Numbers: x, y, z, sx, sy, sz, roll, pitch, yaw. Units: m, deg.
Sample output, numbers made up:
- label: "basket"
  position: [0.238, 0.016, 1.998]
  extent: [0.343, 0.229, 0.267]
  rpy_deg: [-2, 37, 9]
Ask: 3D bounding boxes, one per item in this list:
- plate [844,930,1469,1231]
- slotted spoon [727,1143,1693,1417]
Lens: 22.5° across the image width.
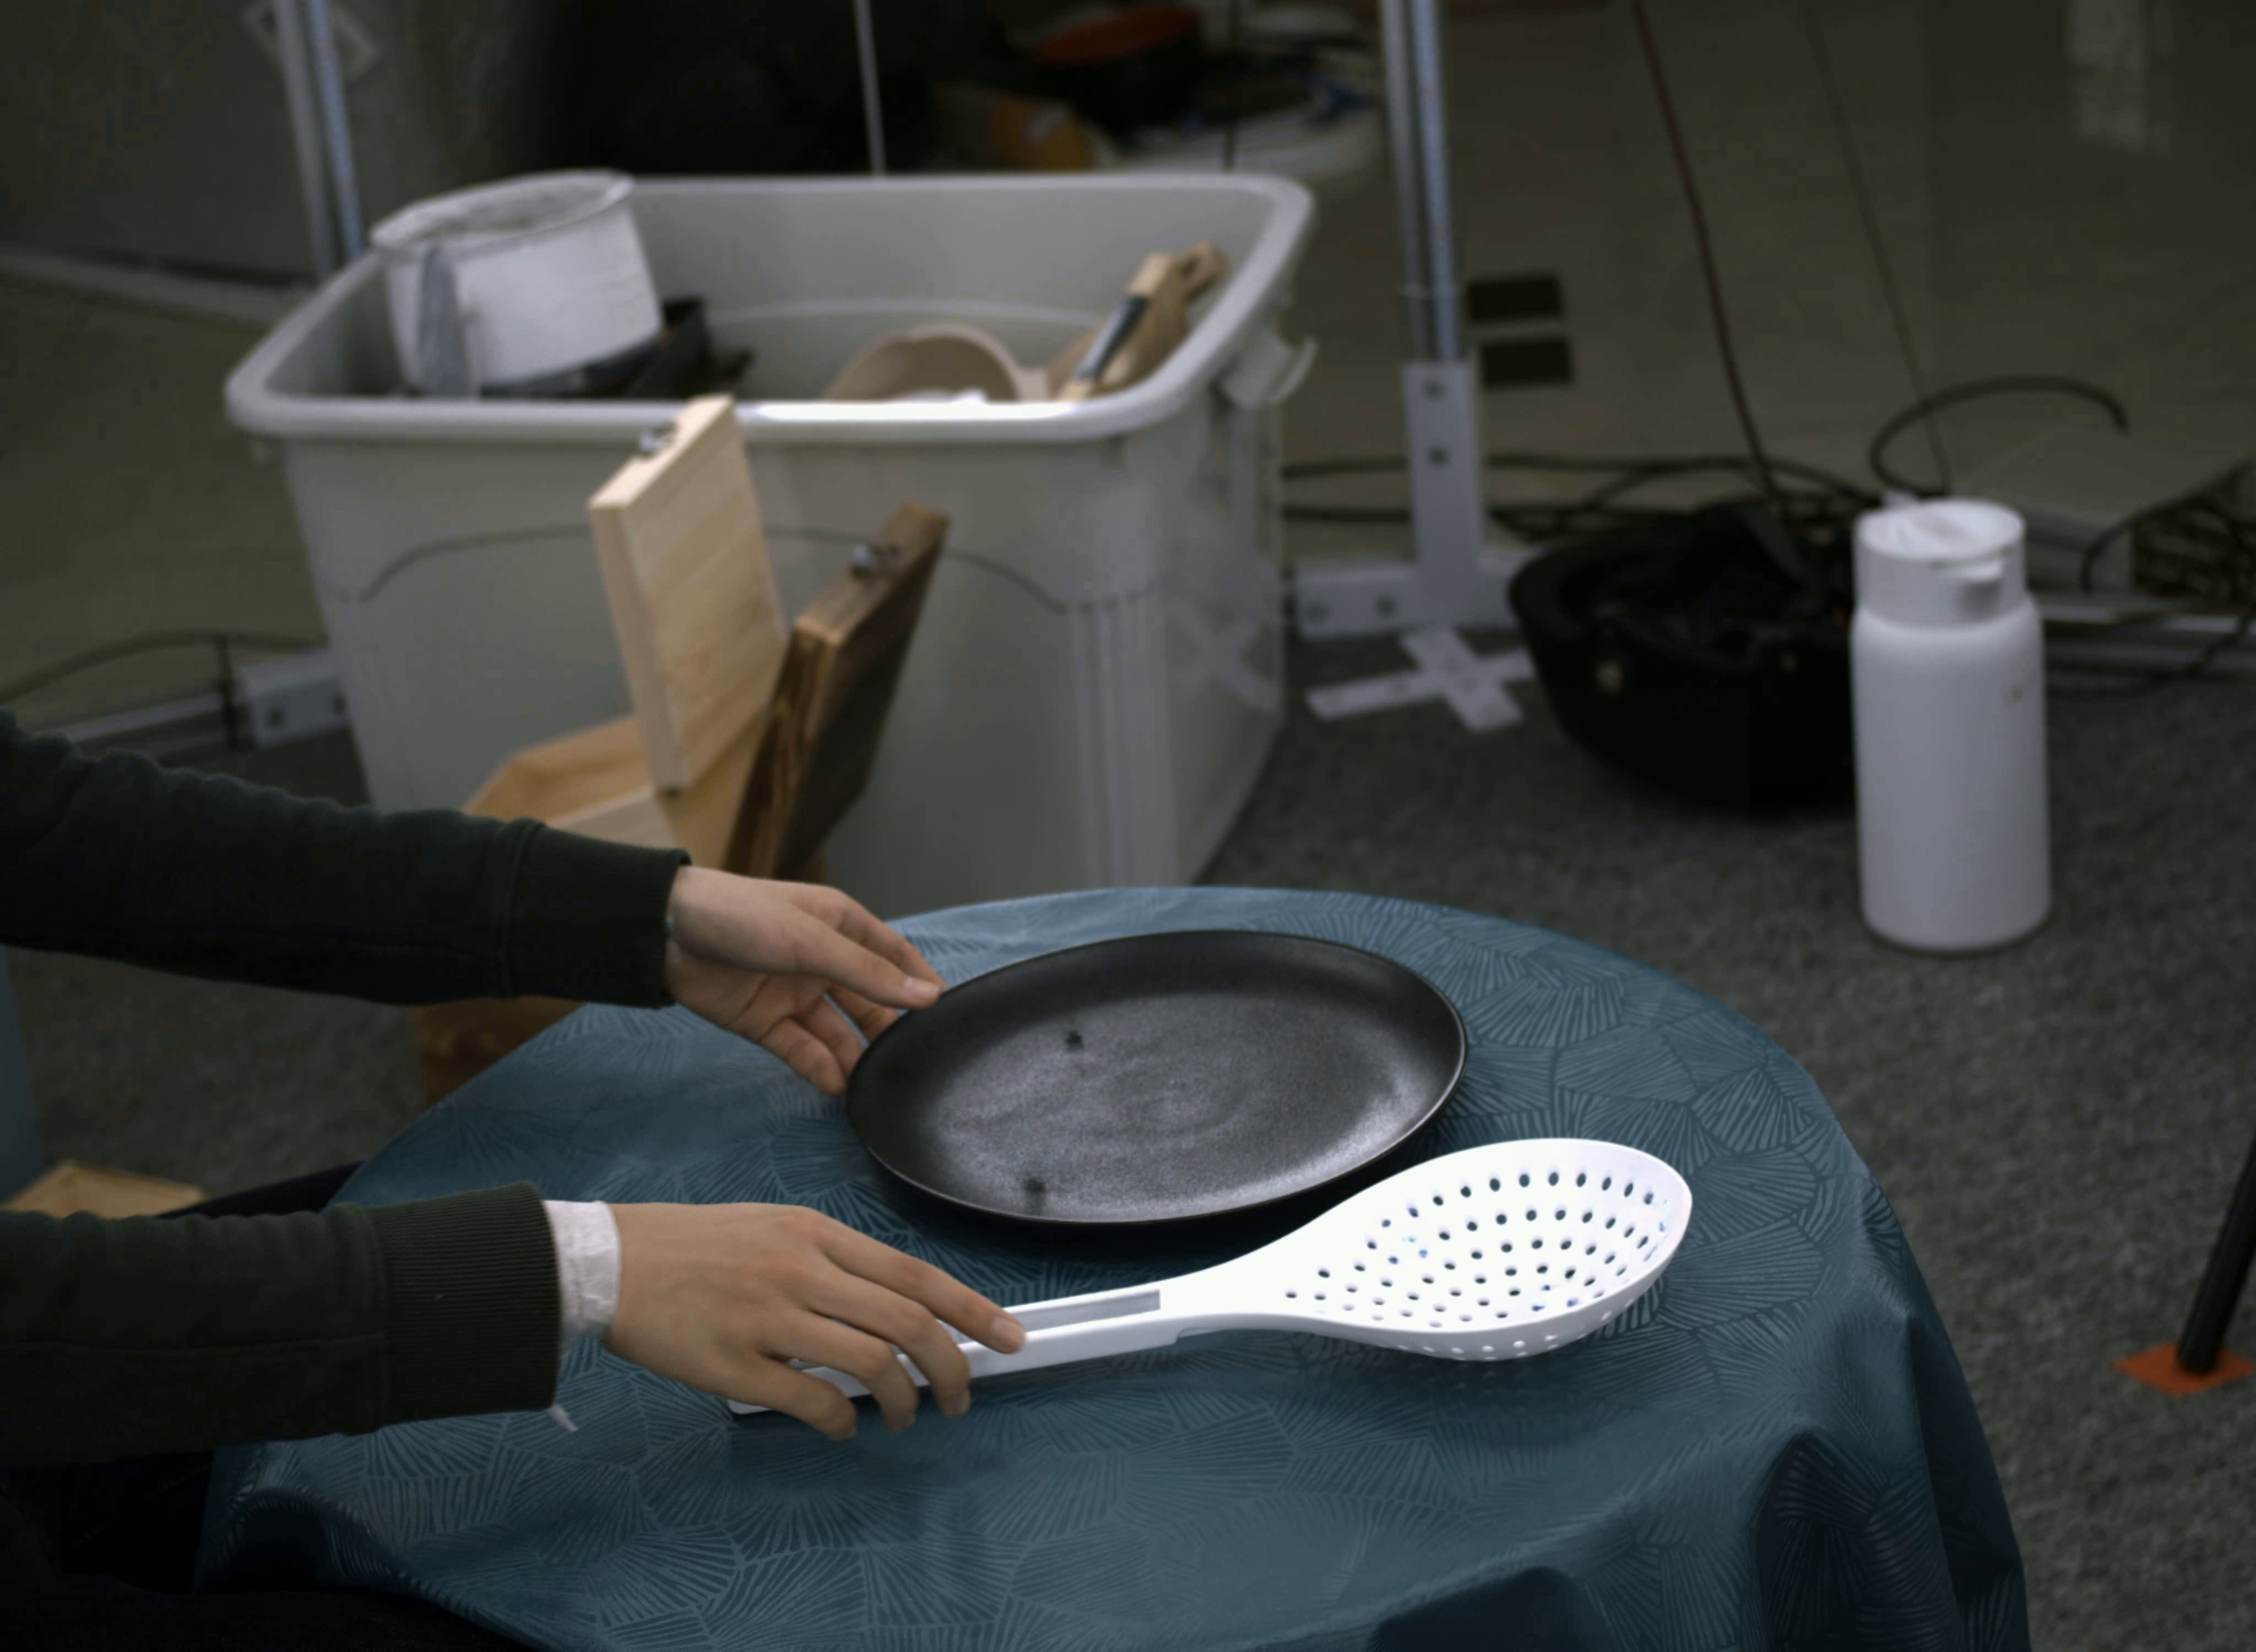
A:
- label: "plate"
  position: [0.011, 0.103, 2.199]
  extent: [0.244, 0.024, 0.241]
  rpy_deg: [-5, 25, 3]
- label: "slotted spoon"
  position: [0.028, 0.171, 2.024]
  extent: [0.349, 0.046, 0.134]
  rpy_deg: [-6, 23, 3]
